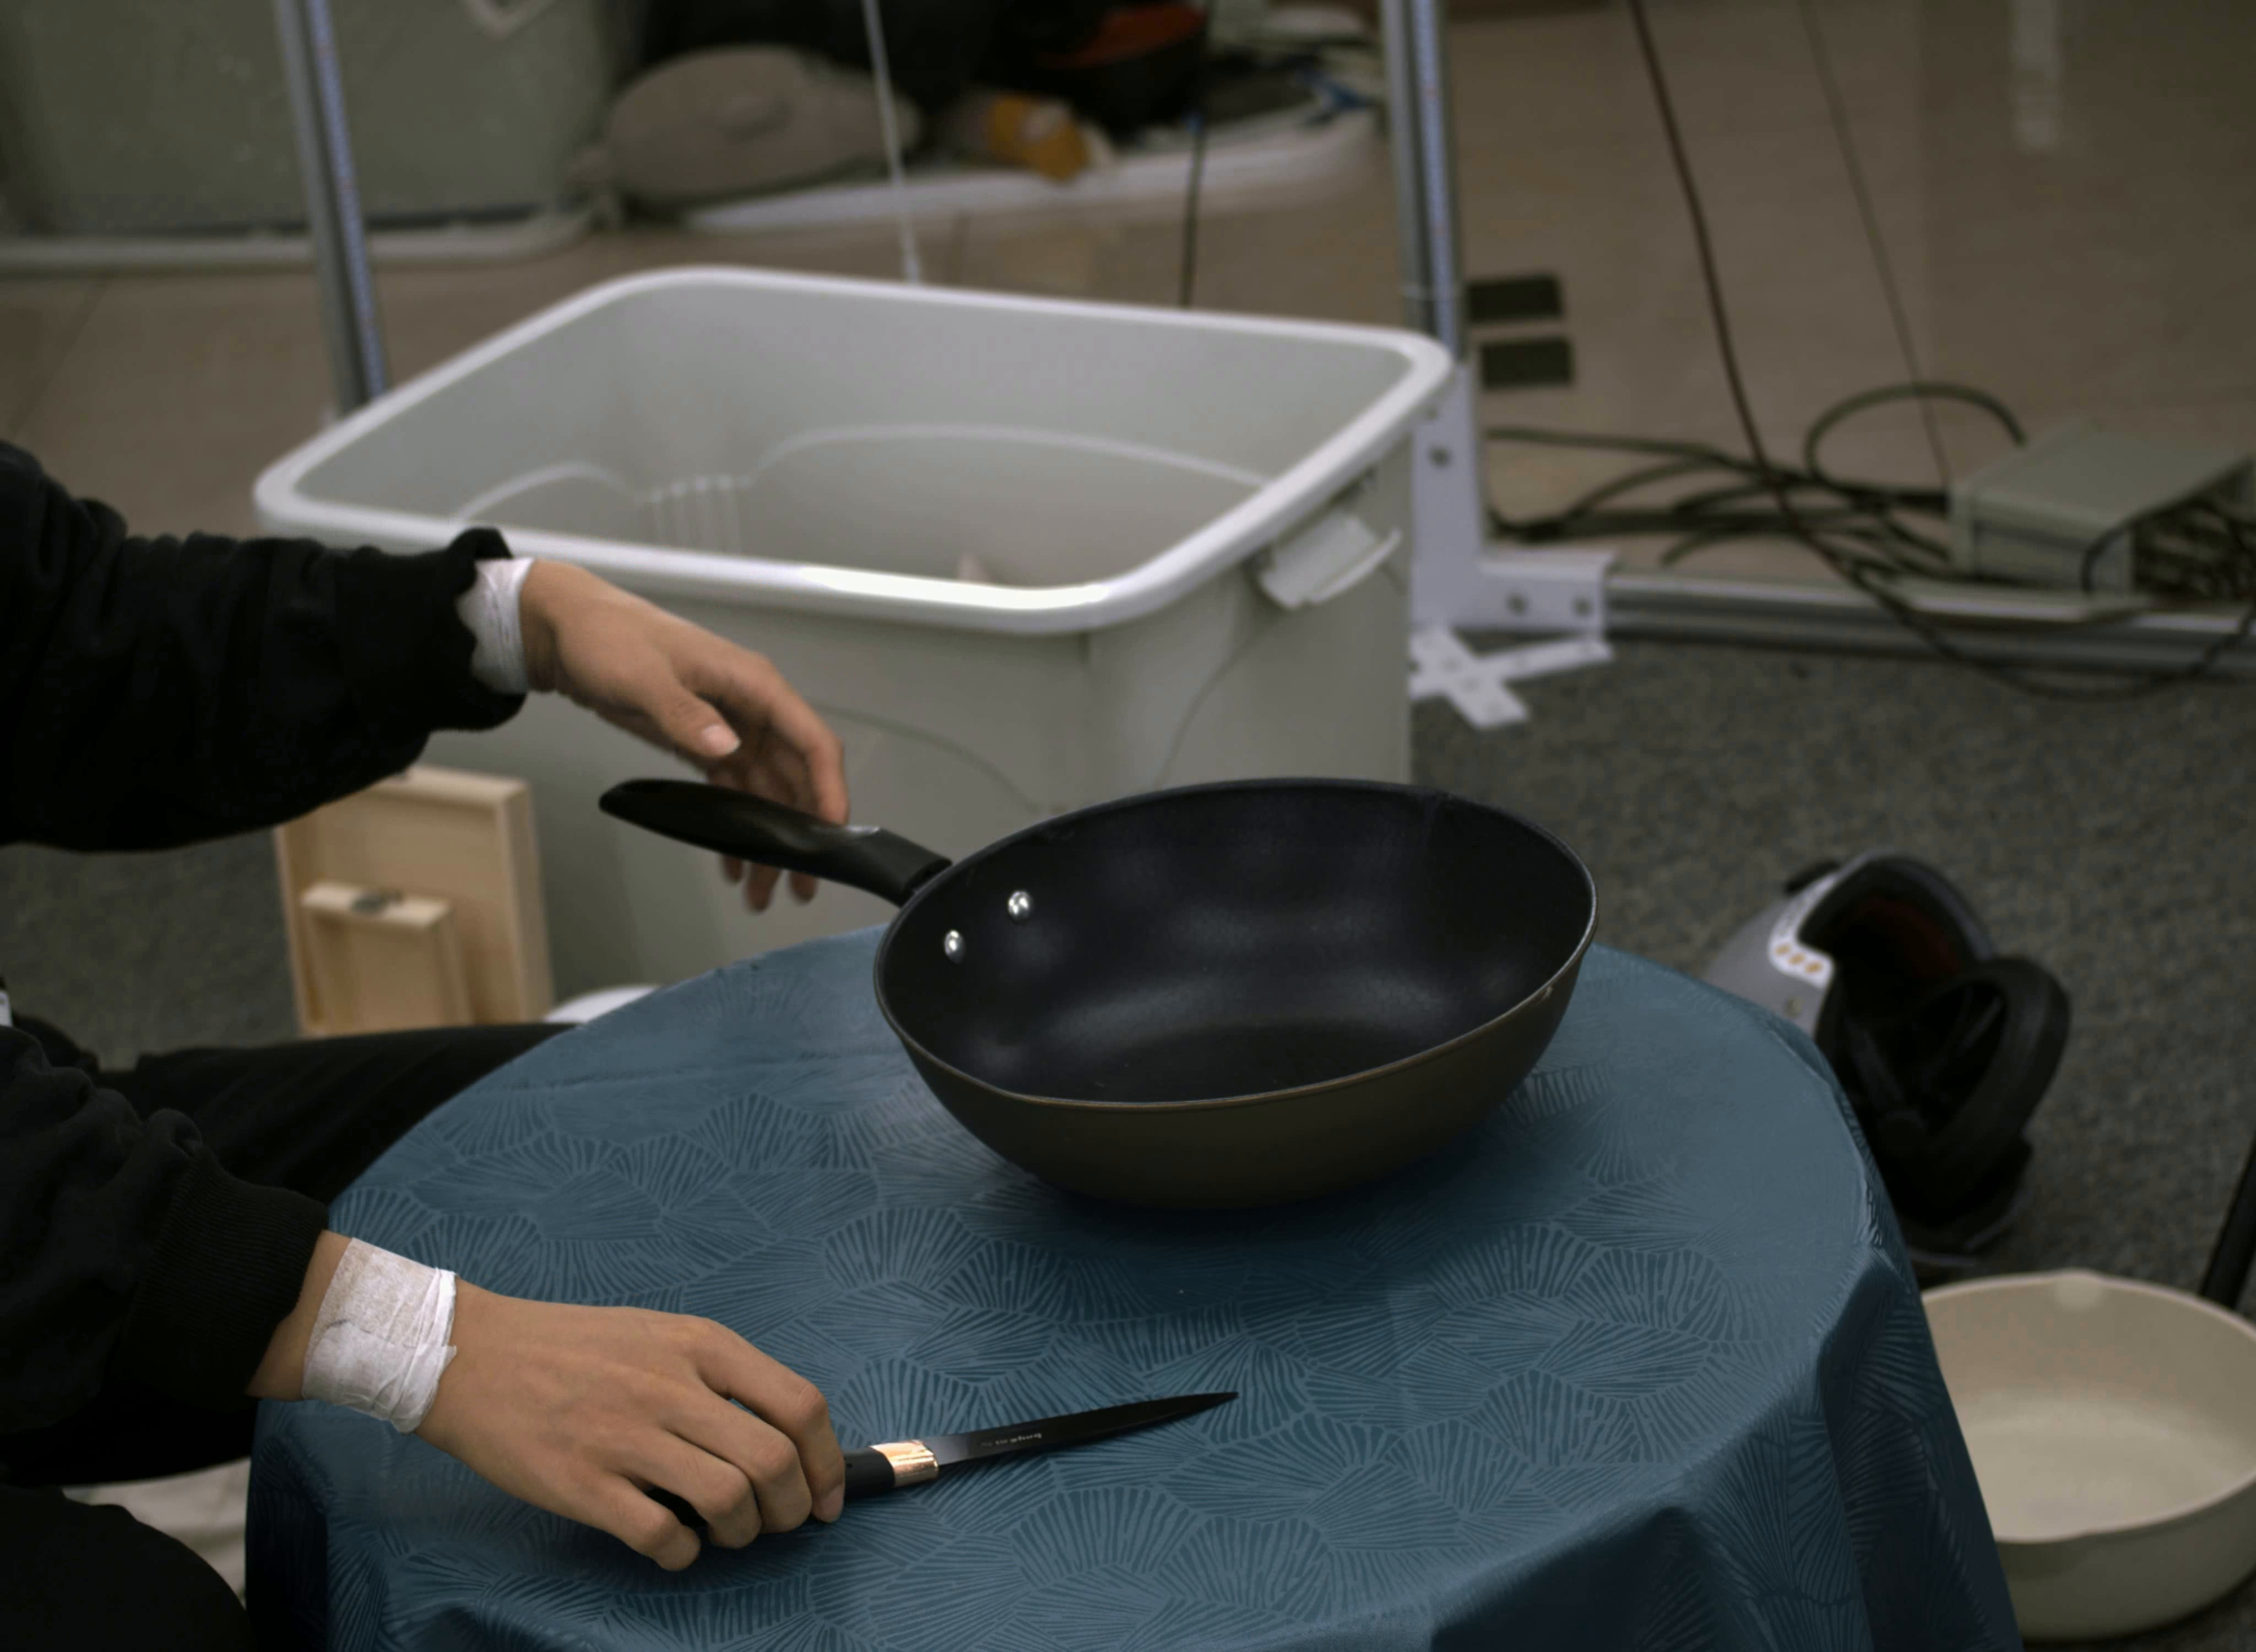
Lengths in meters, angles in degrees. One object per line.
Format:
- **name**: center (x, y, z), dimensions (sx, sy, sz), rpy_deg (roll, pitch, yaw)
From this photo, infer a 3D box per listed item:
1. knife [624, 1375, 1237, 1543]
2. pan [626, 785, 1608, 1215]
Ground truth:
- **knife**: center (-0.067, 0.219, 1.985), dimensions (0.225, 0.017, 0.026), rpy_deg (-11, 12, -12)
- **pan**: center (-0.024, 0.061, 2.229), dimensions (0.460, 0.088, 0.285), rpy_deg (12, 31, 37)
